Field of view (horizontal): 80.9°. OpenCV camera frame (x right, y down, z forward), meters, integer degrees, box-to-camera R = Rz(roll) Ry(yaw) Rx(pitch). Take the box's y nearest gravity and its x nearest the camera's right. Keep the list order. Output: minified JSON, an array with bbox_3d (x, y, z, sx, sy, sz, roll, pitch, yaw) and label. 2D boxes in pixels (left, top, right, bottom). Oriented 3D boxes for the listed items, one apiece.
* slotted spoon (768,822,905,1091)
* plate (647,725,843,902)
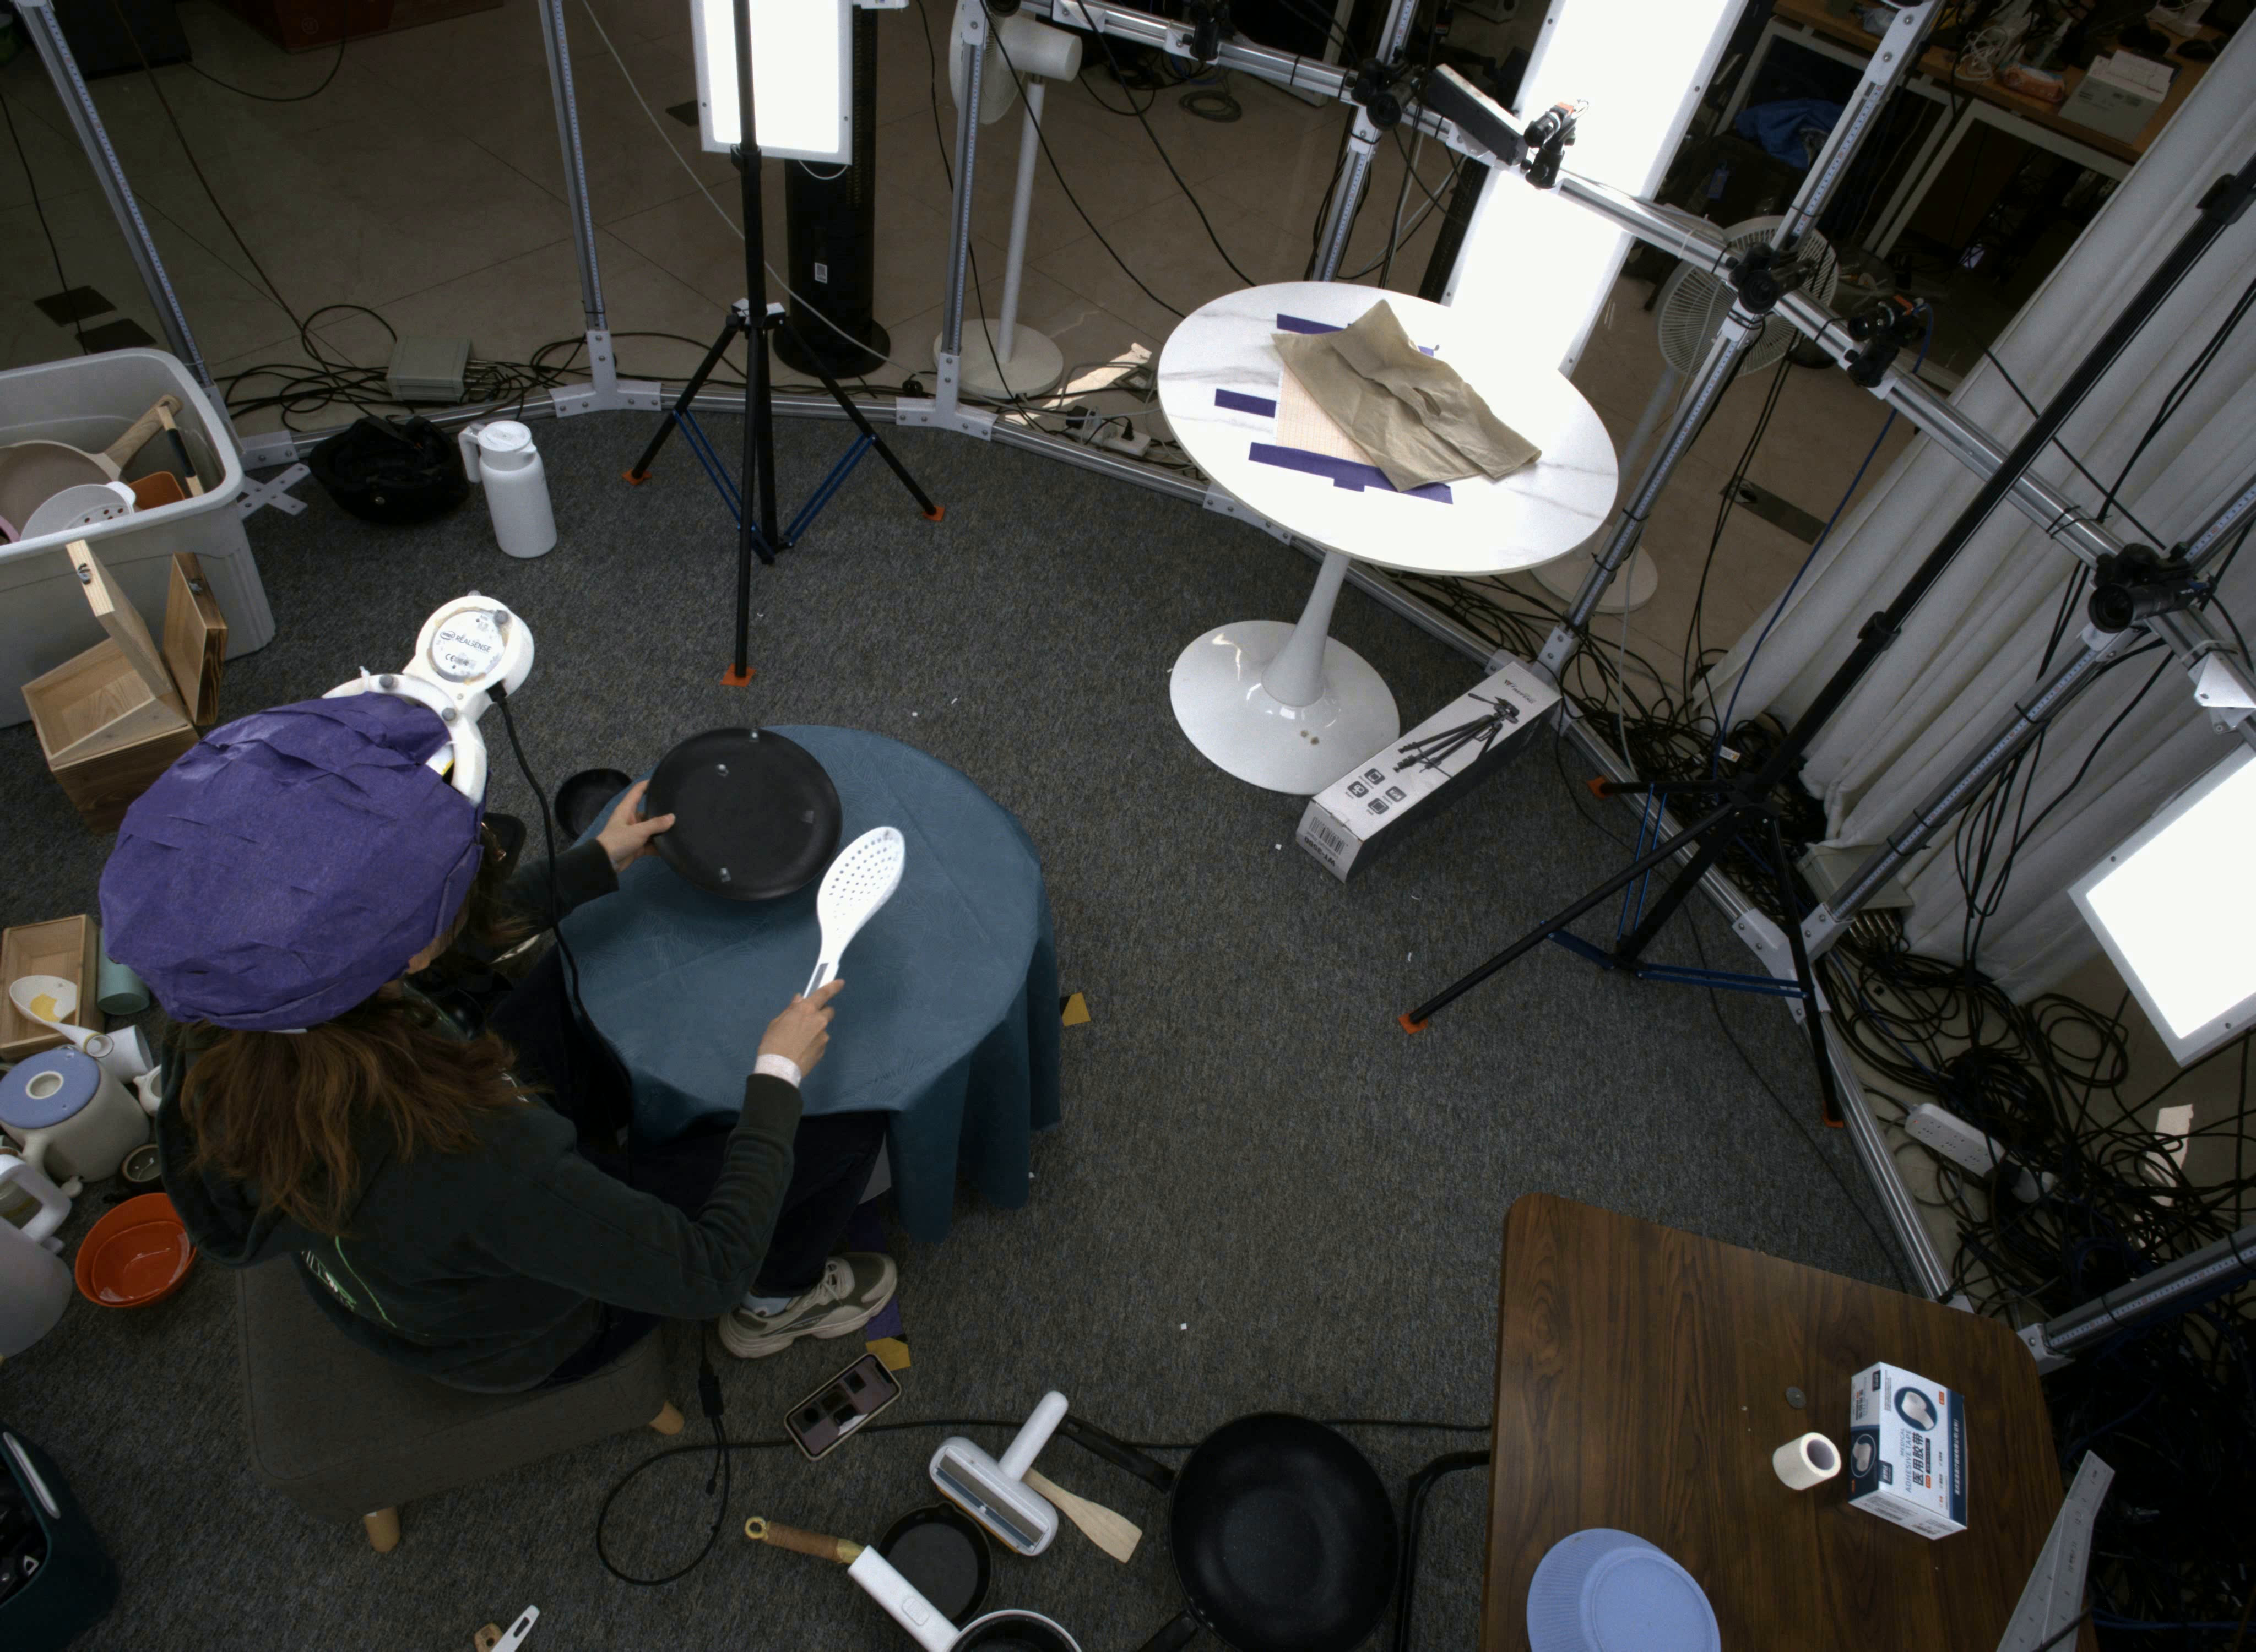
[{"bbox_3d":[-0.339,0.142,1.498,0.047,0.132,0.346,48,46,-33],"label":"slotted spoon"},{"bbox_3d":[-0.482,-0.016,1.631,0.247,0.023,0.241,13,61,-22],"label":"plate"}]
